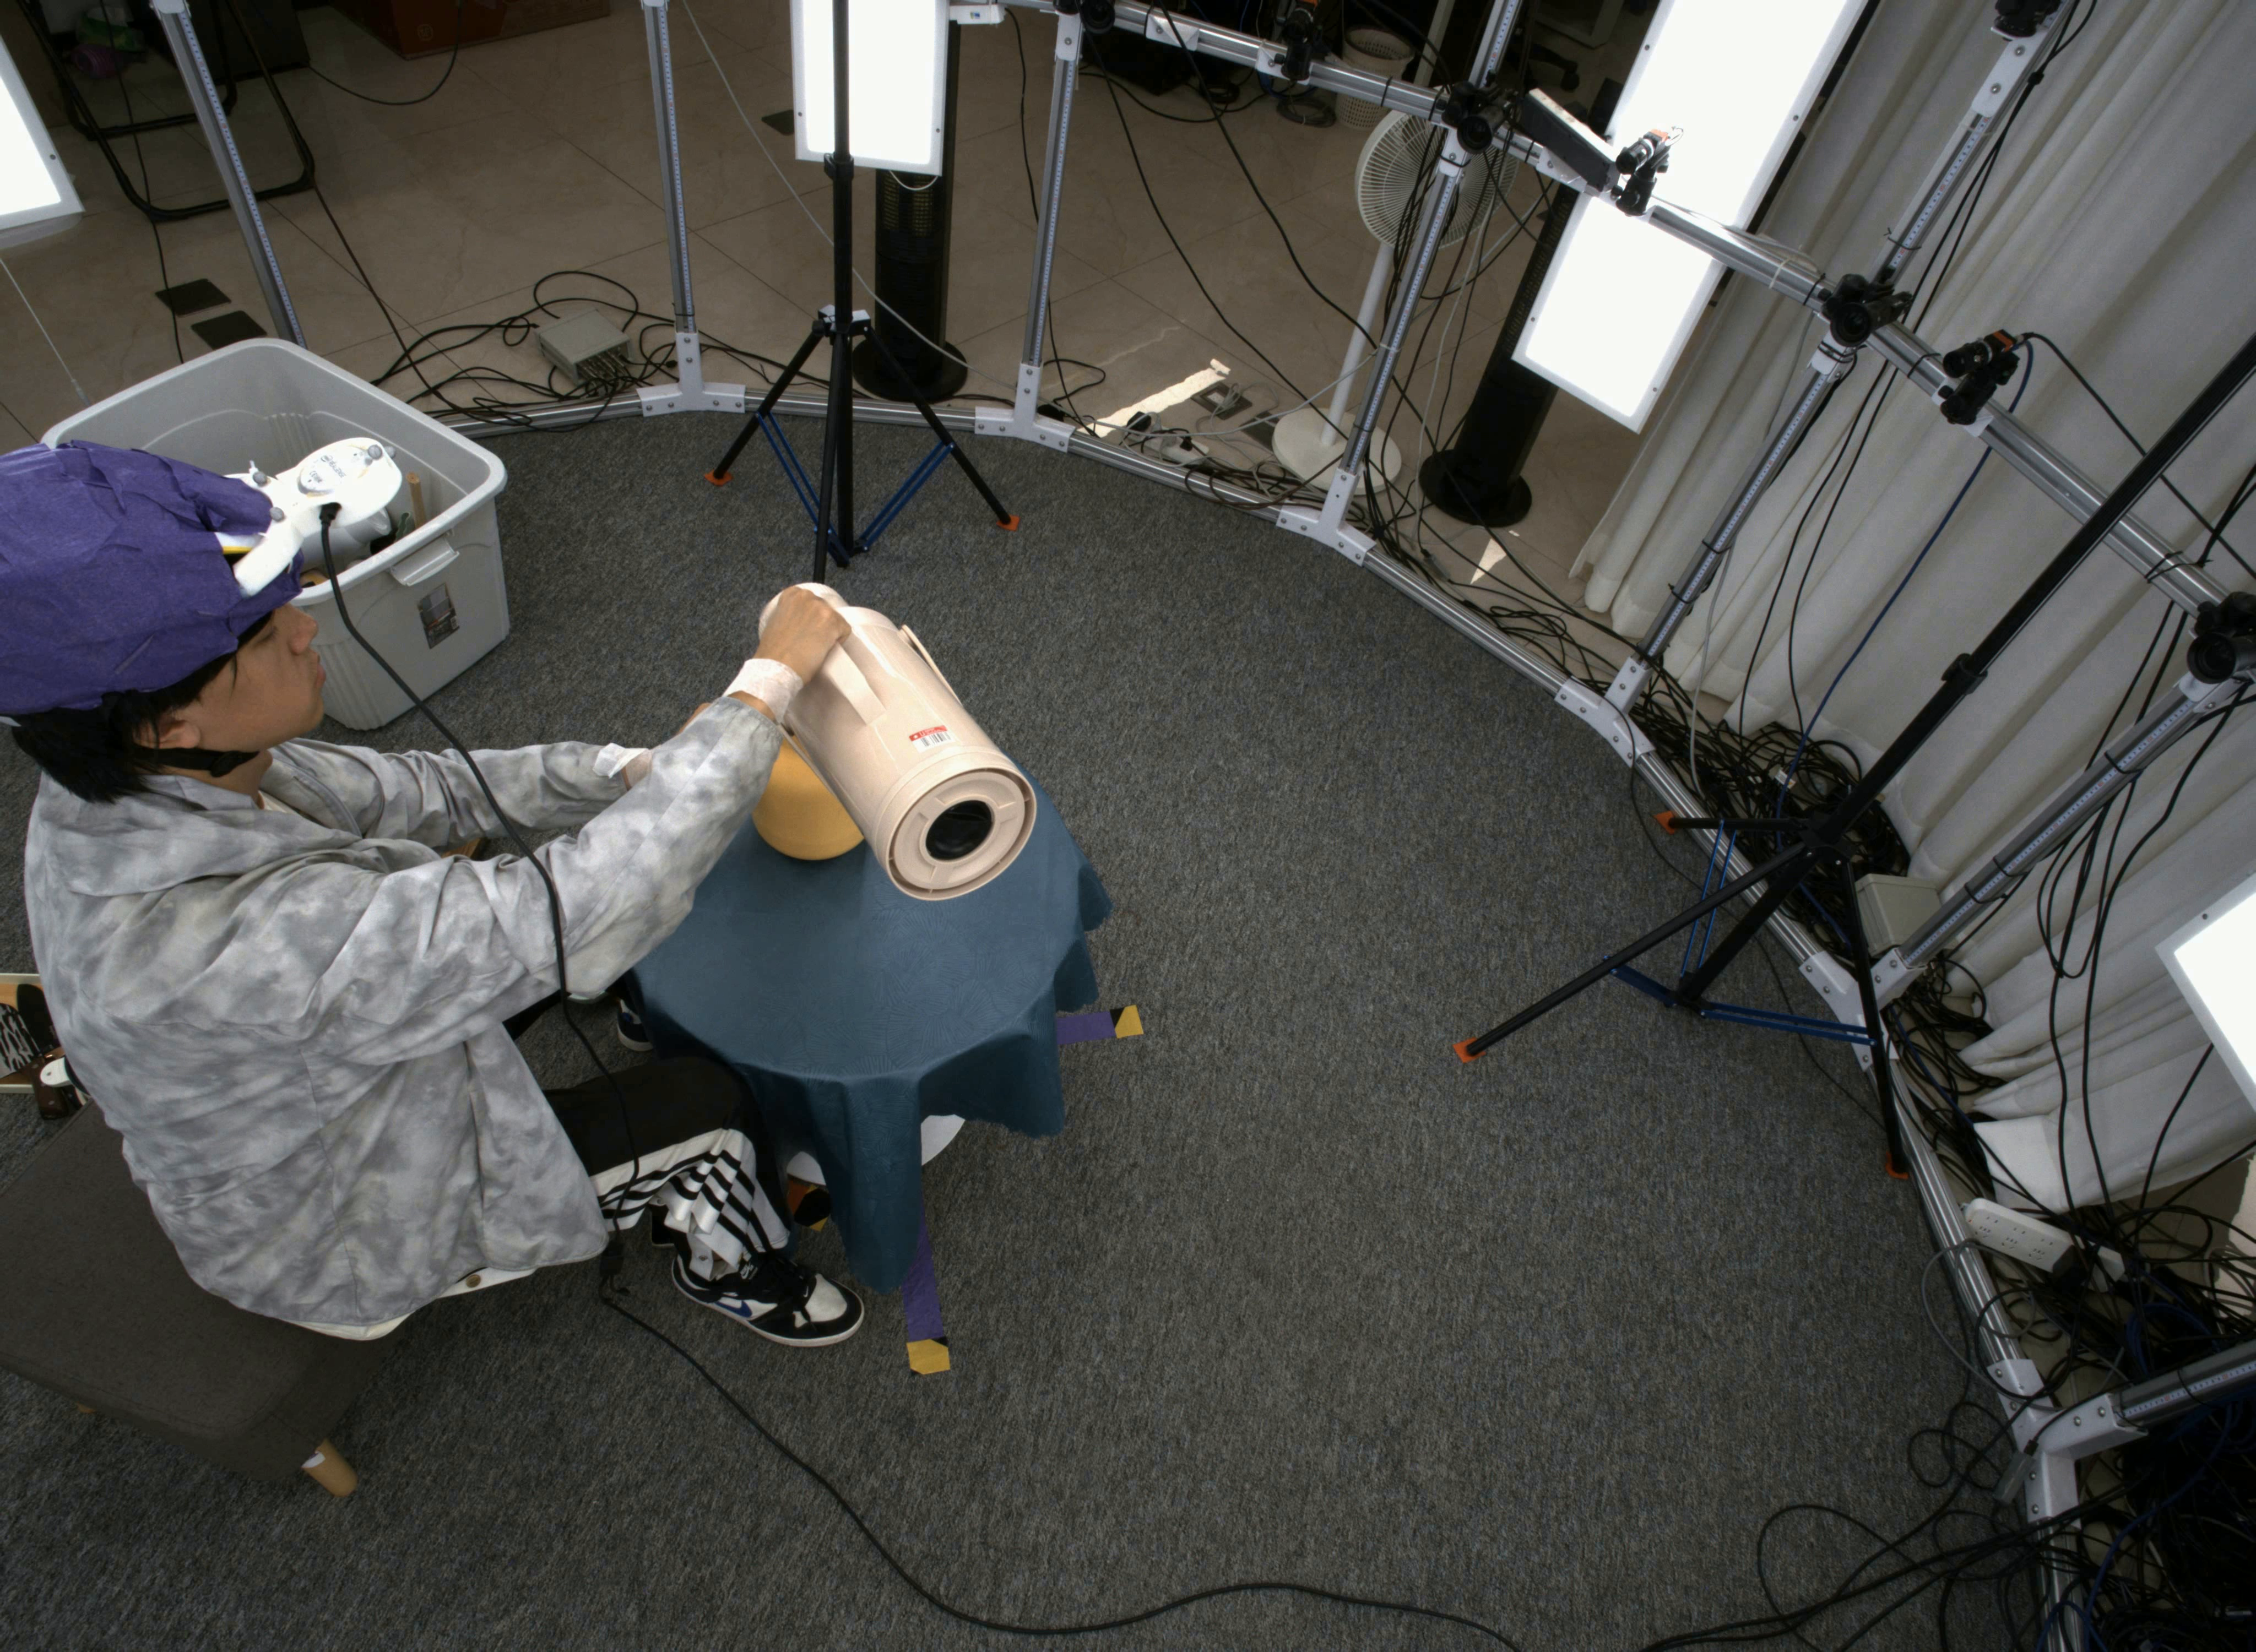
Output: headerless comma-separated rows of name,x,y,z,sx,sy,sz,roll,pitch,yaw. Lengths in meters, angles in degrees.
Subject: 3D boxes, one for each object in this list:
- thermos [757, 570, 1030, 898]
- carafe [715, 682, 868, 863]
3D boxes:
thermos,-0.264,-0.121,1.303,0.175,0.215,0.392,-35,54,-6
carafe,-0.410,-0.085,1.624,0.203,0.266,0.159,-6,52,-17
